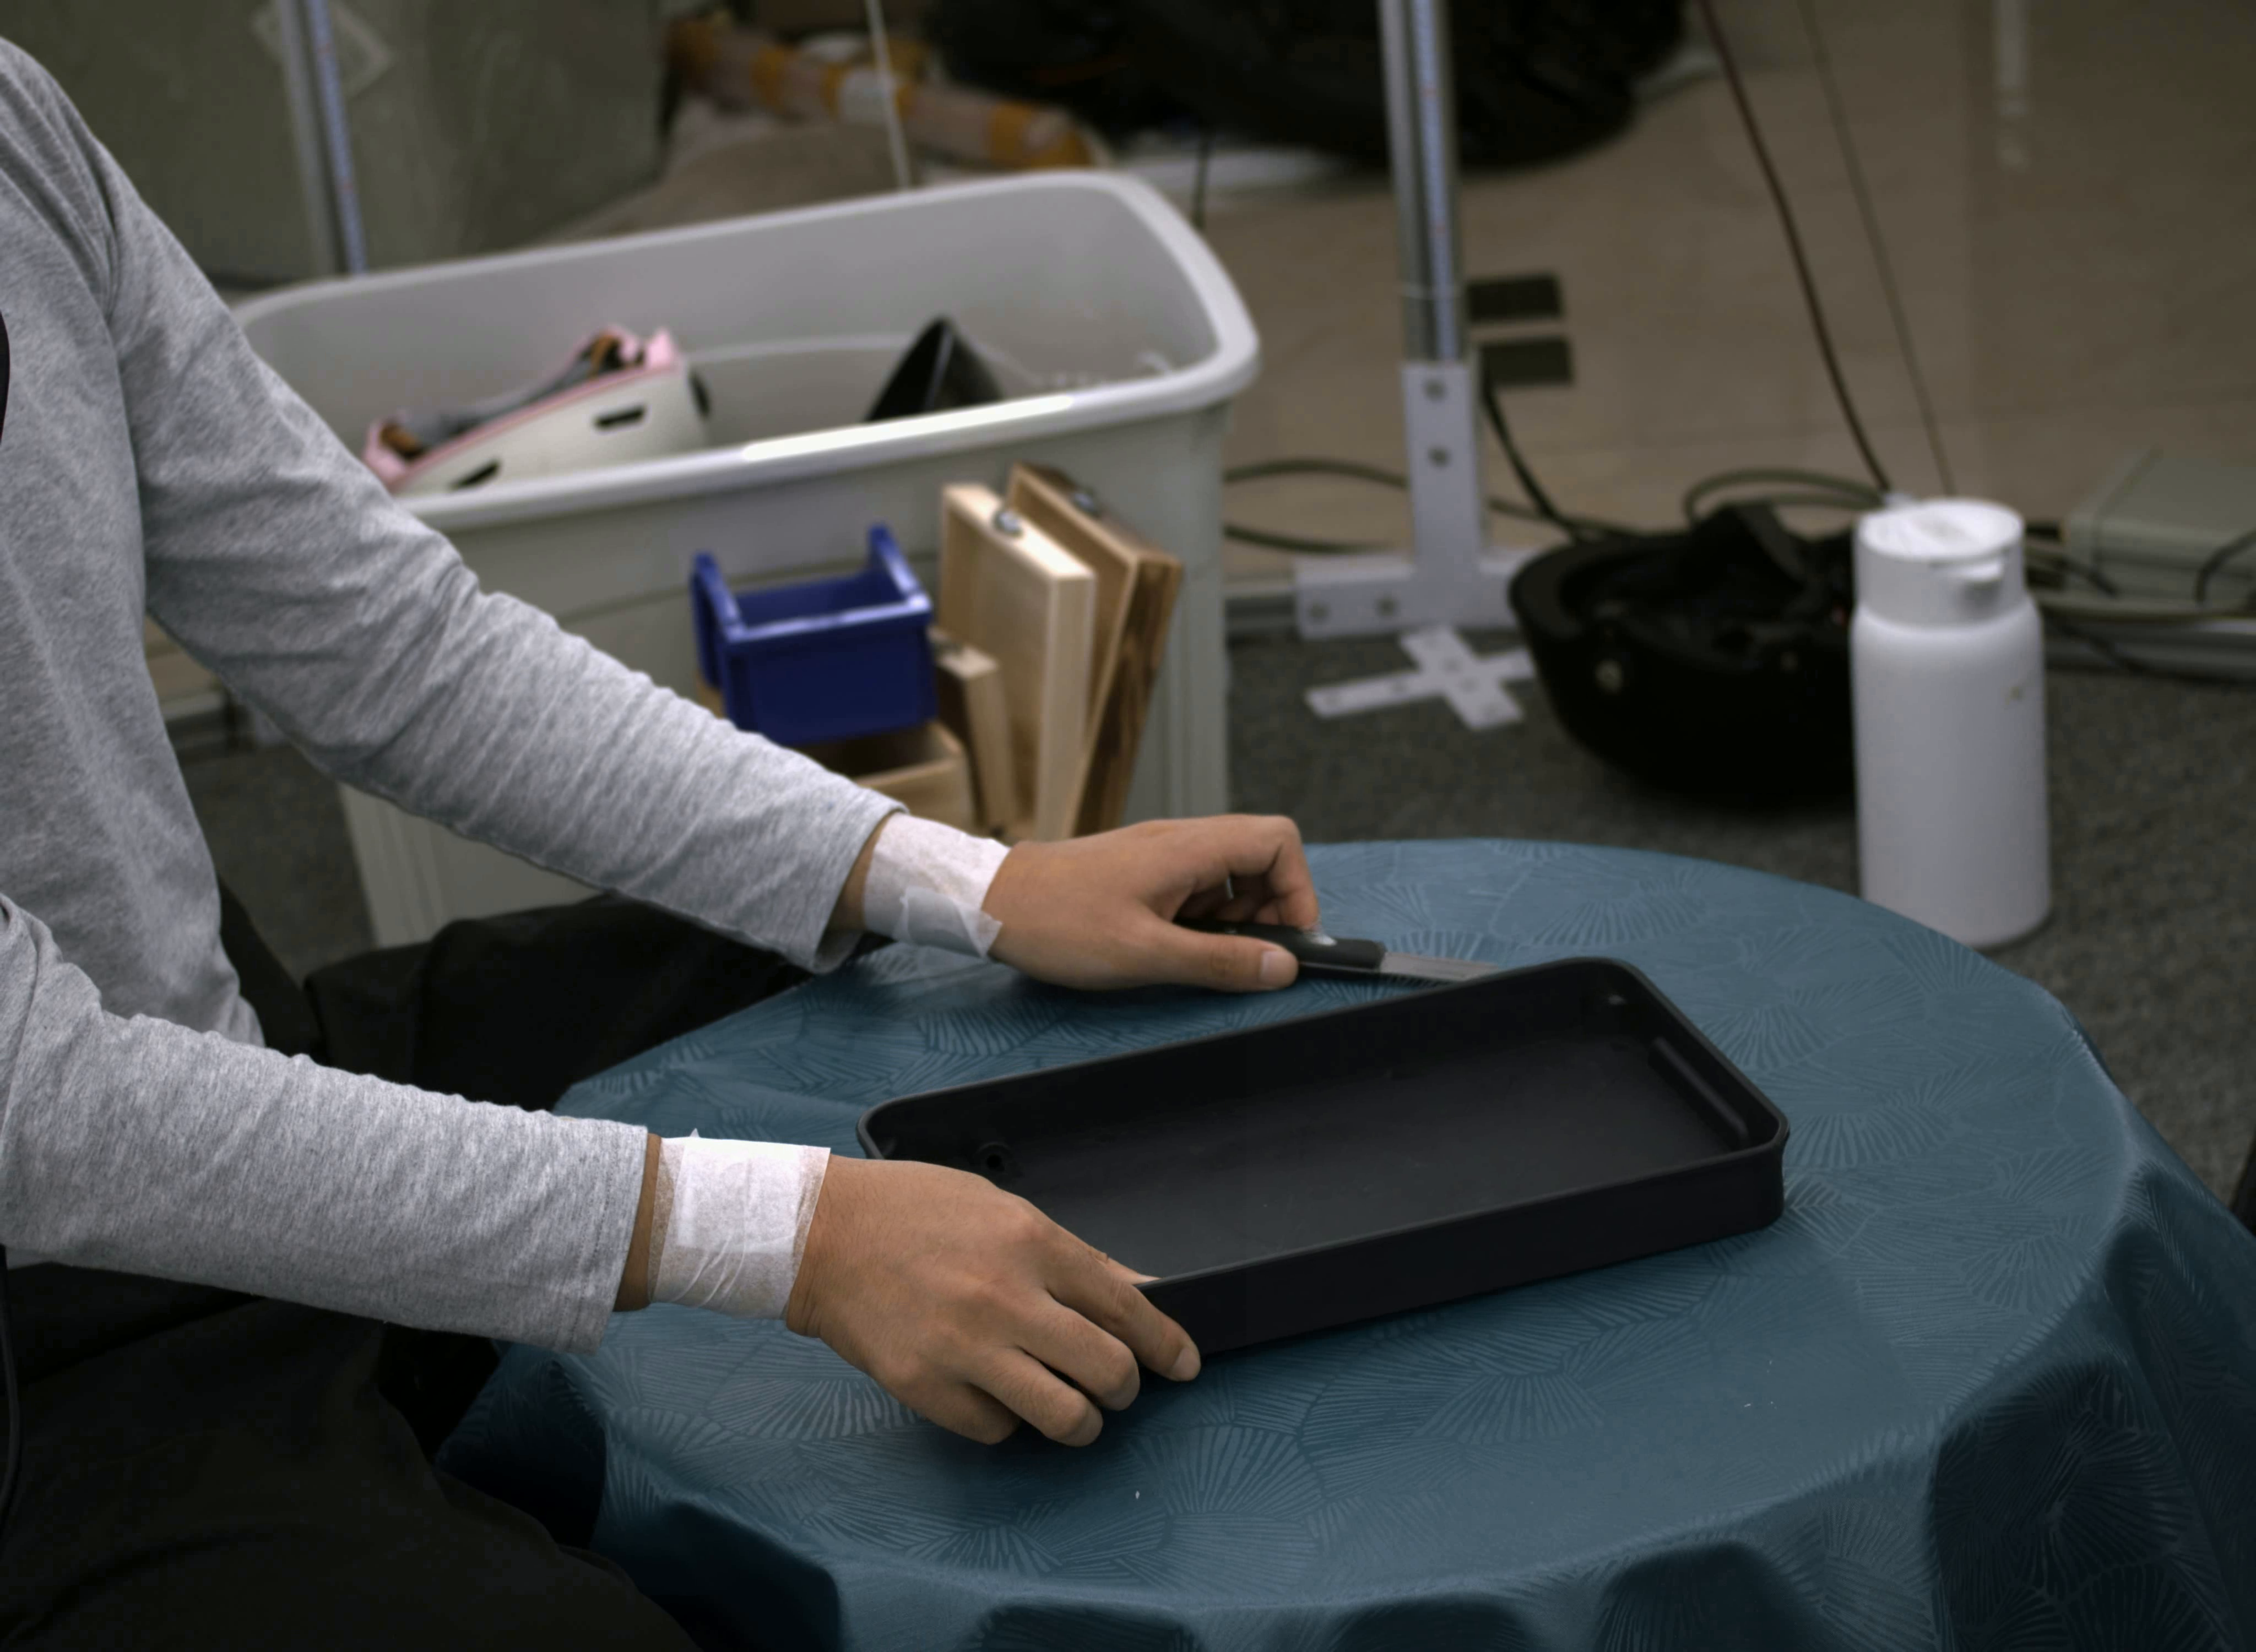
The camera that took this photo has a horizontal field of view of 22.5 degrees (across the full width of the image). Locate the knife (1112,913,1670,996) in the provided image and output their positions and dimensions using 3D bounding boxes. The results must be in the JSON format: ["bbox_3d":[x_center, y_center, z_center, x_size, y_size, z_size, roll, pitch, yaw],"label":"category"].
[{"bbox_3d":[0.103,0.056,2.293,0.237,0.016,0.024,6,26,19],"label":"knife"}]

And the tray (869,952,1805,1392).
[{"bbox_3d":[0.076,0.125,2.110,0.317,0.037,0.182,-12,25,-16],"label":"tray"}]
